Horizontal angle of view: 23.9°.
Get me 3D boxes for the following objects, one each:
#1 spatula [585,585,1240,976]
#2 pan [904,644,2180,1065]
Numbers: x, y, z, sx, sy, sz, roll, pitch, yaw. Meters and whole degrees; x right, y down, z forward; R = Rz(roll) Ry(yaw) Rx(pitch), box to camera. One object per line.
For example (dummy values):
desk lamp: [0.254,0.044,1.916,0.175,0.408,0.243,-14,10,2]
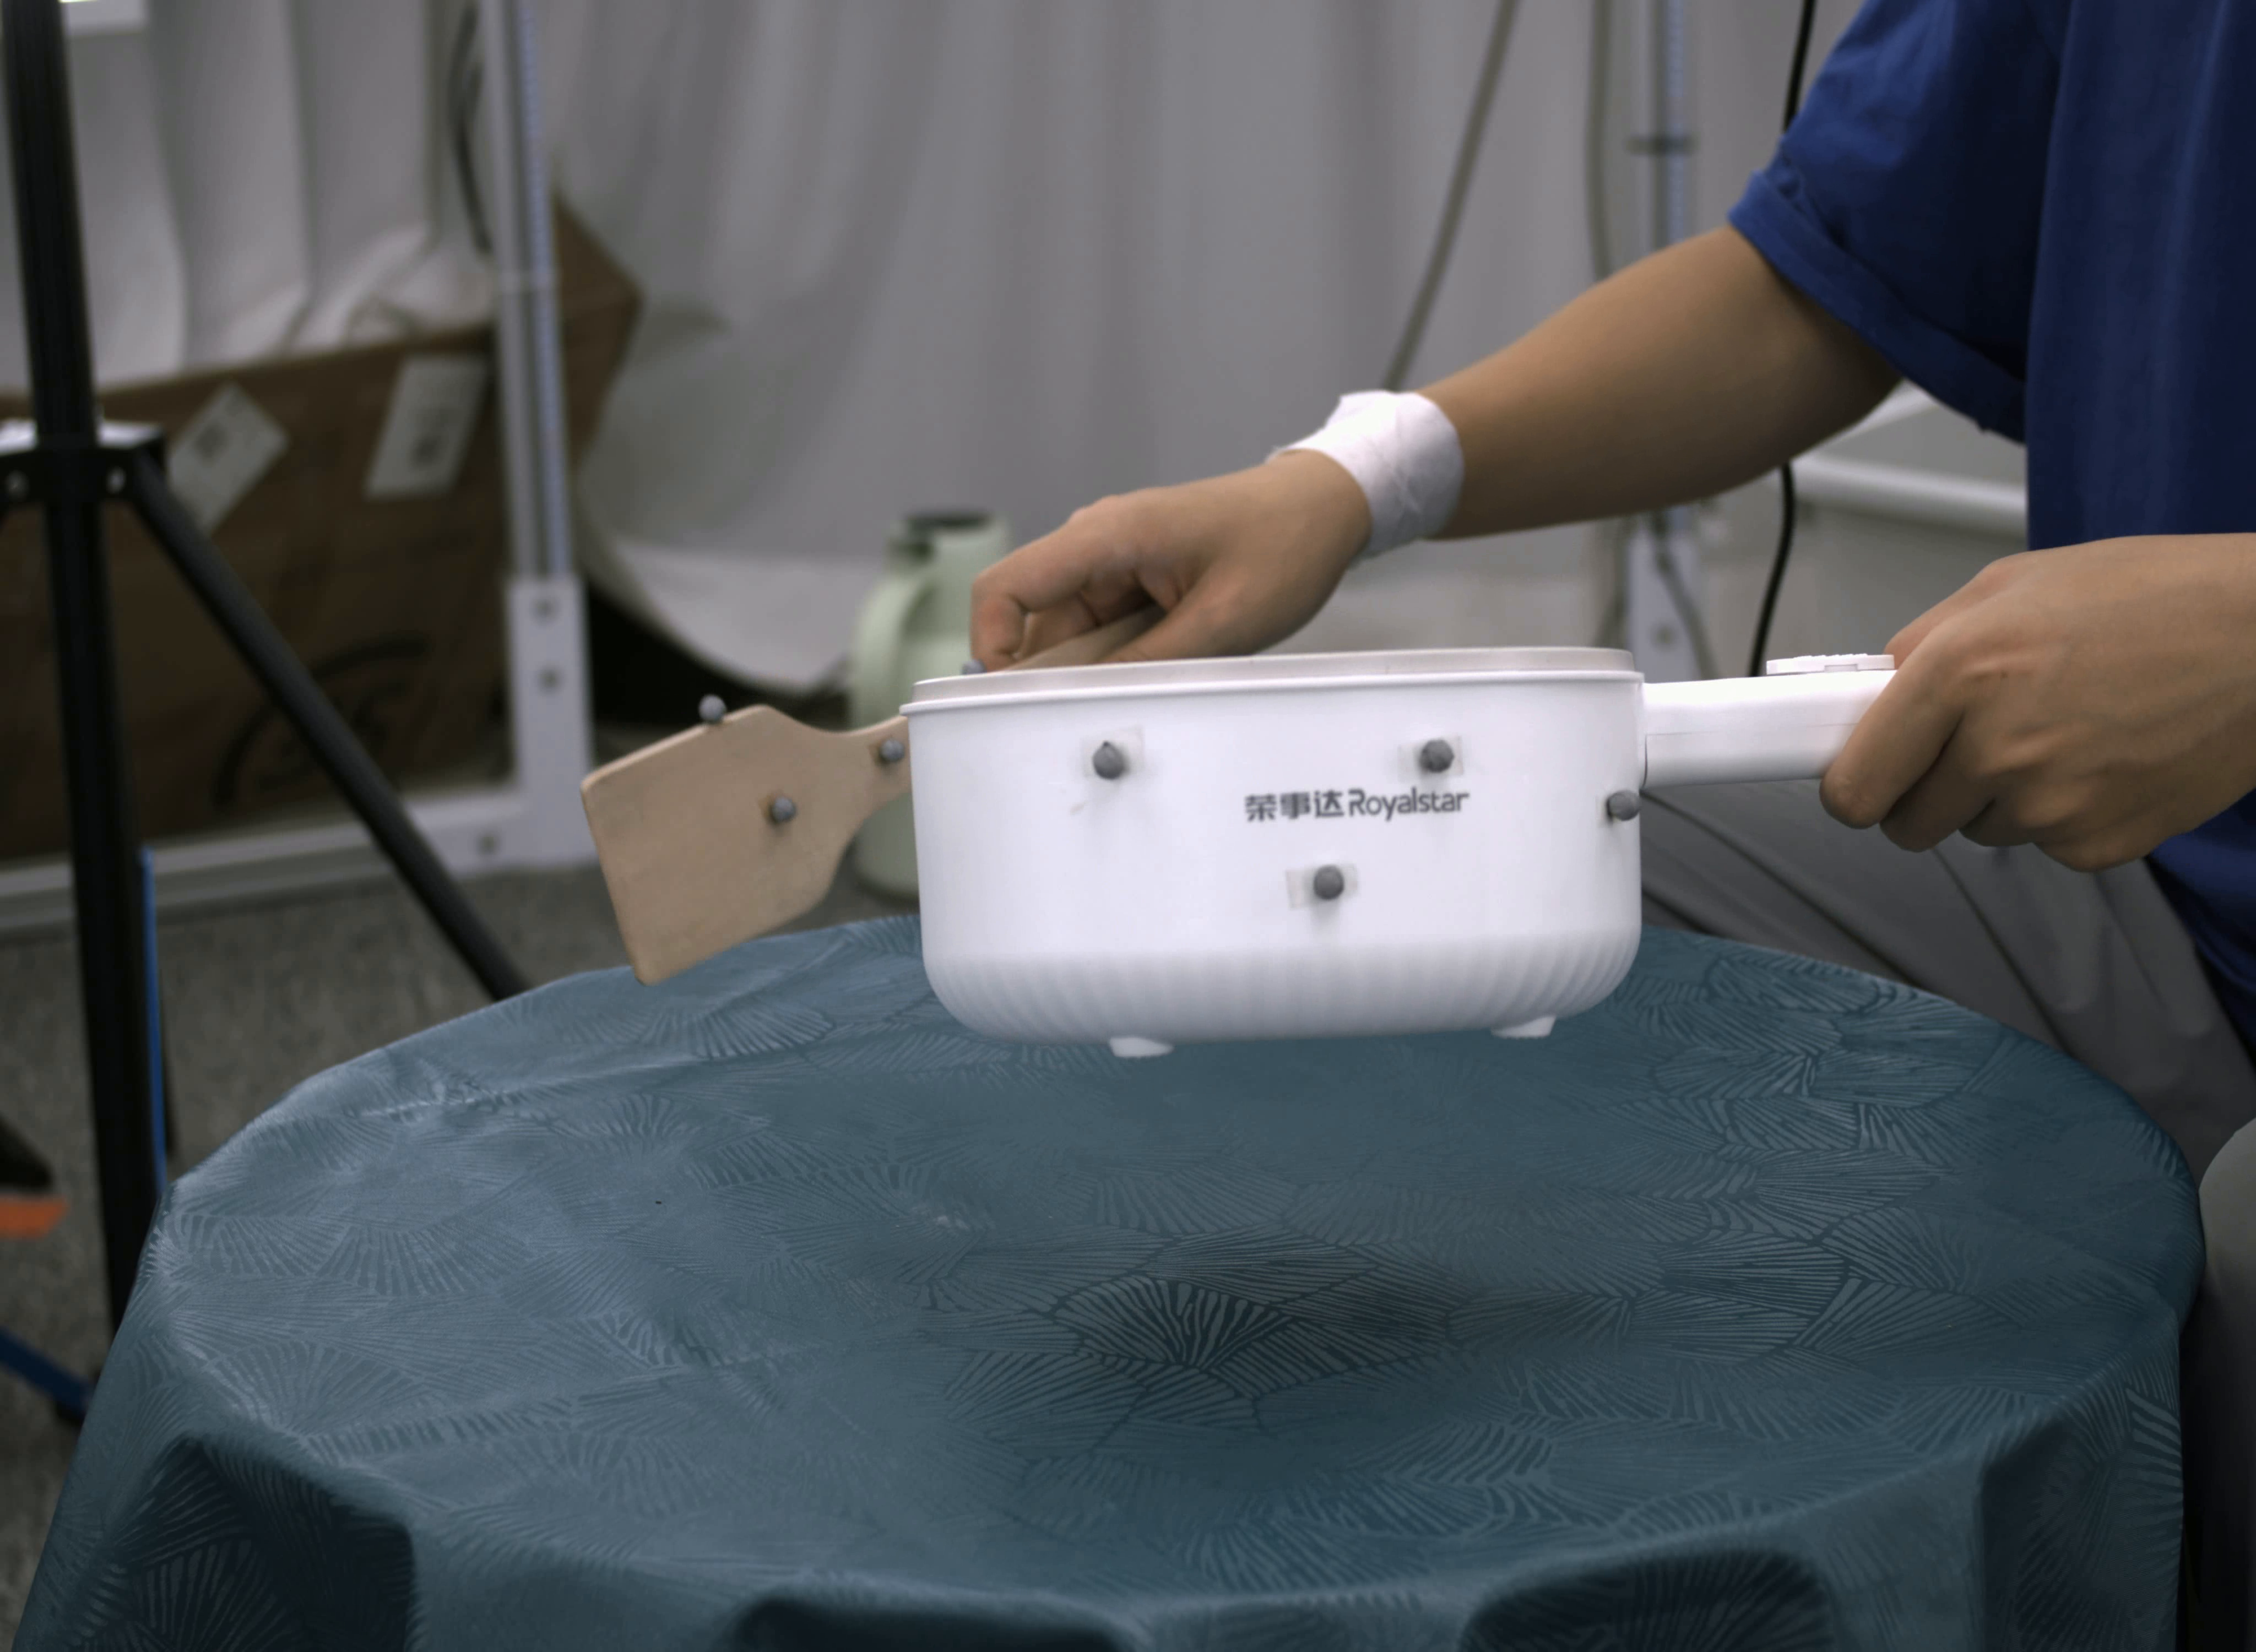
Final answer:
spatula: [-0.065,-0.029,1.777,0.287,0.072,0.011,-24,11,-39]
pan: [0.116,0.008,1.440,0.350,0.102,0.203,-2,-2,-11]
